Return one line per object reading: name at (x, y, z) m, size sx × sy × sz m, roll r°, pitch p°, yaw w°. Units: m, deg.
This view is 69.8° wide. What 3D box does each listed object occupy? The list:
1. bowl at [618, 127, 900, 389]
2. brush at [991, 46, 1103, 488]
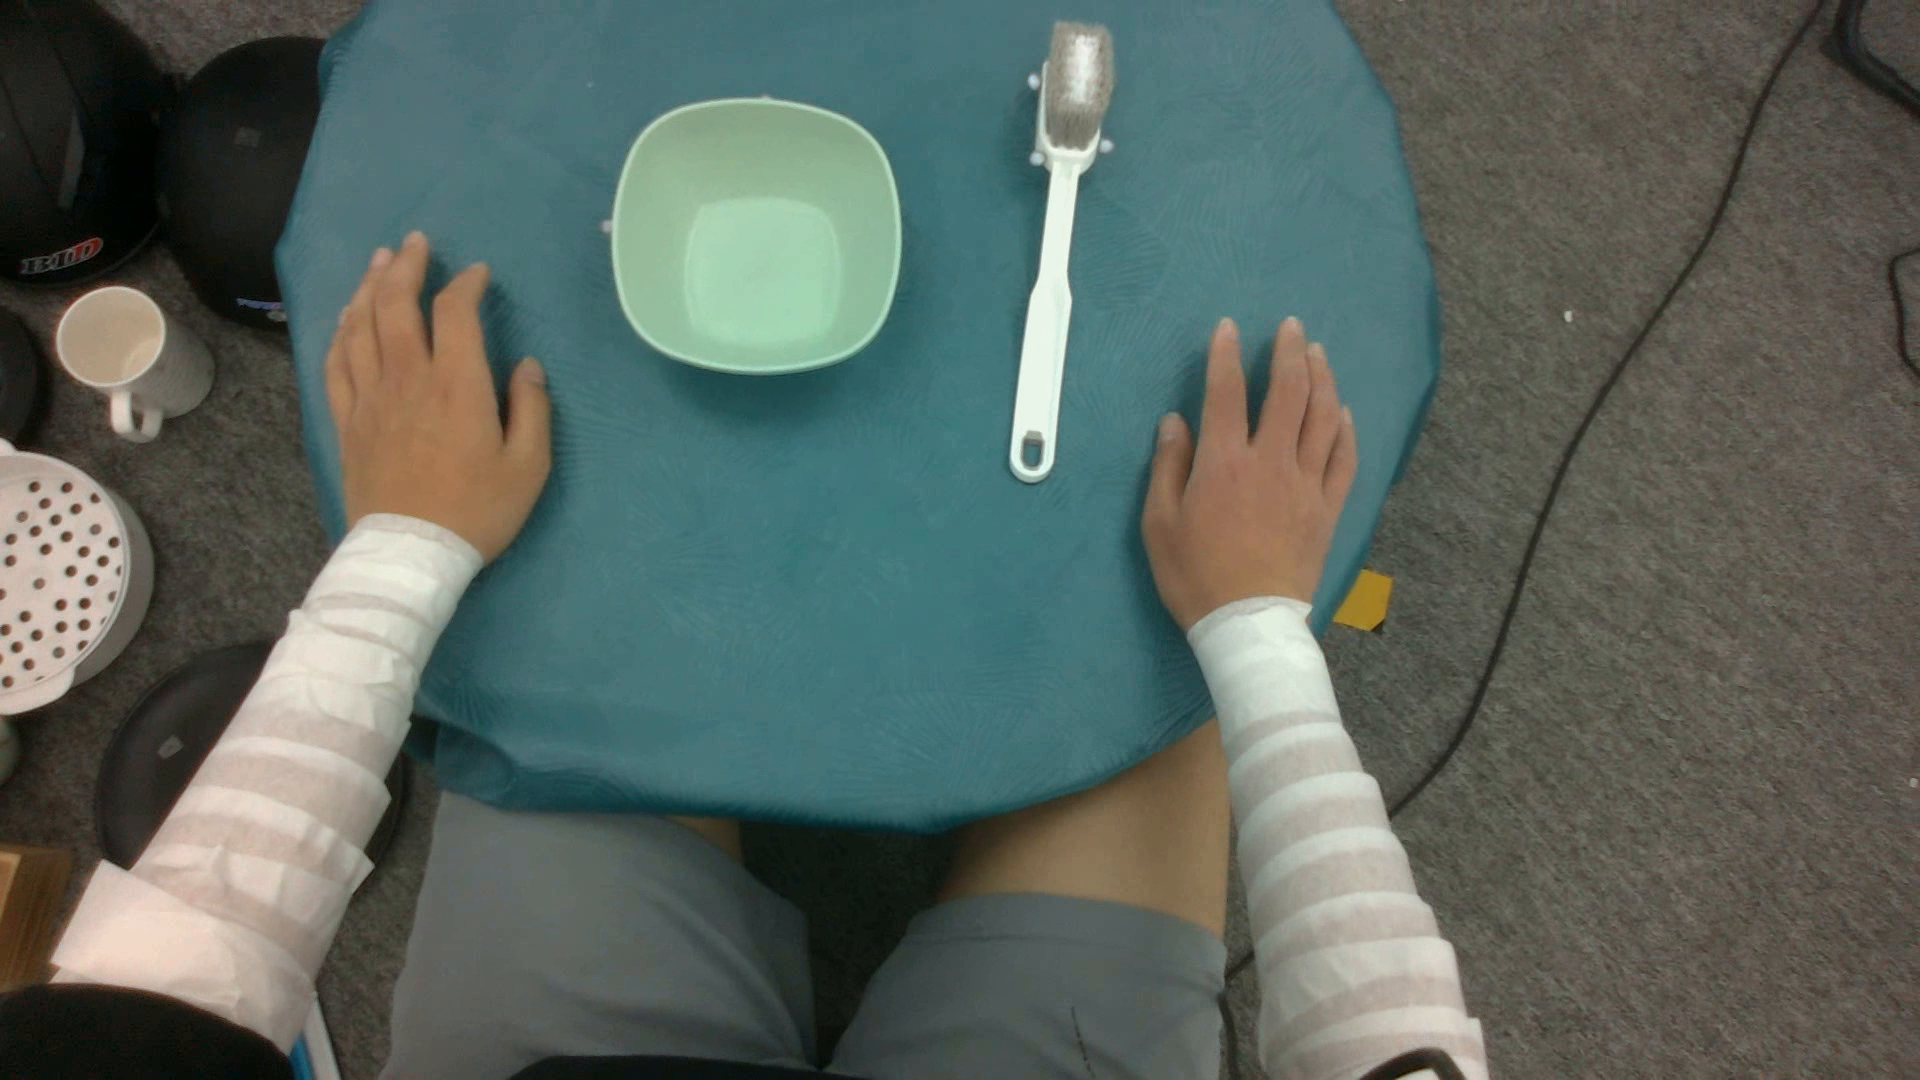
bowl at (-0.101, -0.136, 0.710) m, size 0.151 × 0.058 × 0.152 m, roll 1°, pitch 78°, yaw -4°
brush at (0.045, -0.149, 0.730) m, size 0.034 × 0.050 × 0.244 m, roll 9°, pitch 77°, yaw -6°
